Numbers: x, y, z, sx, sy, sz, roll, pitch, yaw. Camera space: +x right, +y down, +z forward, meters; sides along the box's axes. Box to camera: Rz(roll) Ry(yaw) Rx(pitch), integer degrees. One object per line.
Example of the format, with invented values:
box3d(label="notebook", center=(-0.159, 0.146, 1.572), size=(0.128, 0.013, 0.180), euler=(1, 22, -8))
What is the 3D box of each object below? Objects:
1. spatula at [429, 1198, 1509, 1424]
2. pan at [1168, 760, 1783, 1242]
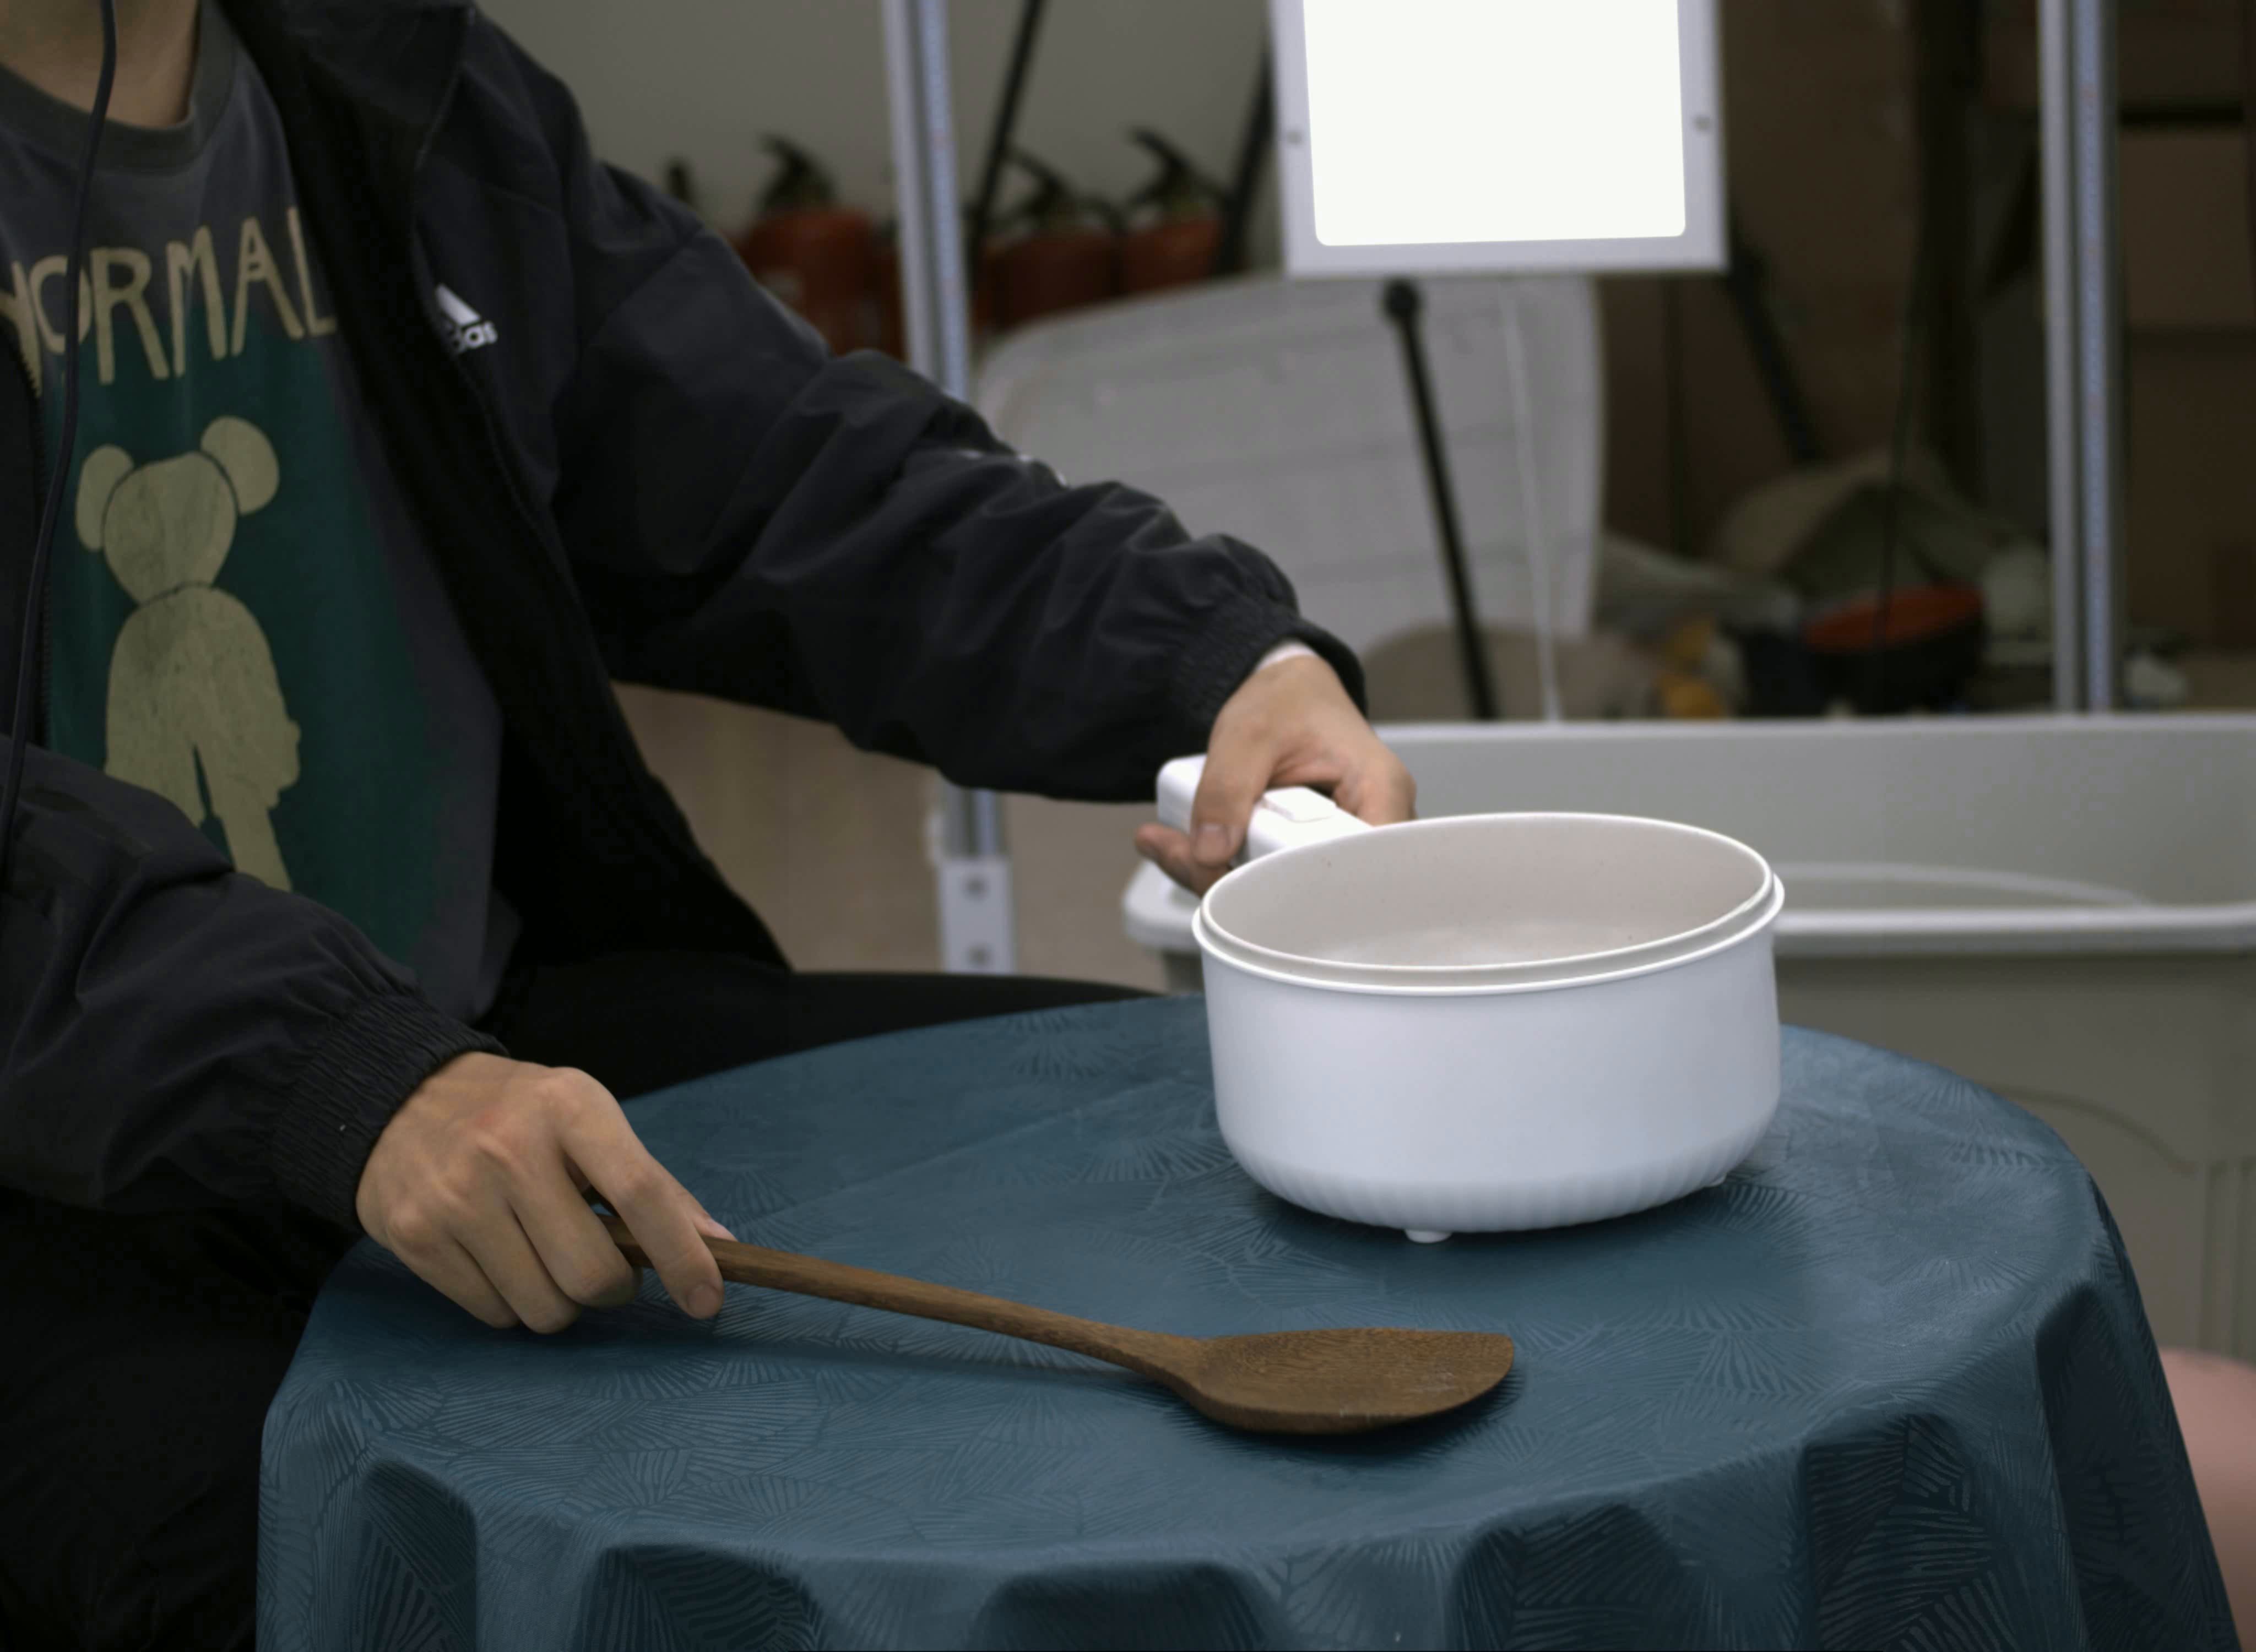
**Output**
box3d(label="spatula", center=(-0.063, 0.150, 1.744), size=(0.393, 0.016, 0.094), euler=(8, 13, 30))
box3d(label="pan", center=(0.097, 0.055, 1.942), size=(0.198, 0.102, 0.359), euler=(-11, 14, -19))
